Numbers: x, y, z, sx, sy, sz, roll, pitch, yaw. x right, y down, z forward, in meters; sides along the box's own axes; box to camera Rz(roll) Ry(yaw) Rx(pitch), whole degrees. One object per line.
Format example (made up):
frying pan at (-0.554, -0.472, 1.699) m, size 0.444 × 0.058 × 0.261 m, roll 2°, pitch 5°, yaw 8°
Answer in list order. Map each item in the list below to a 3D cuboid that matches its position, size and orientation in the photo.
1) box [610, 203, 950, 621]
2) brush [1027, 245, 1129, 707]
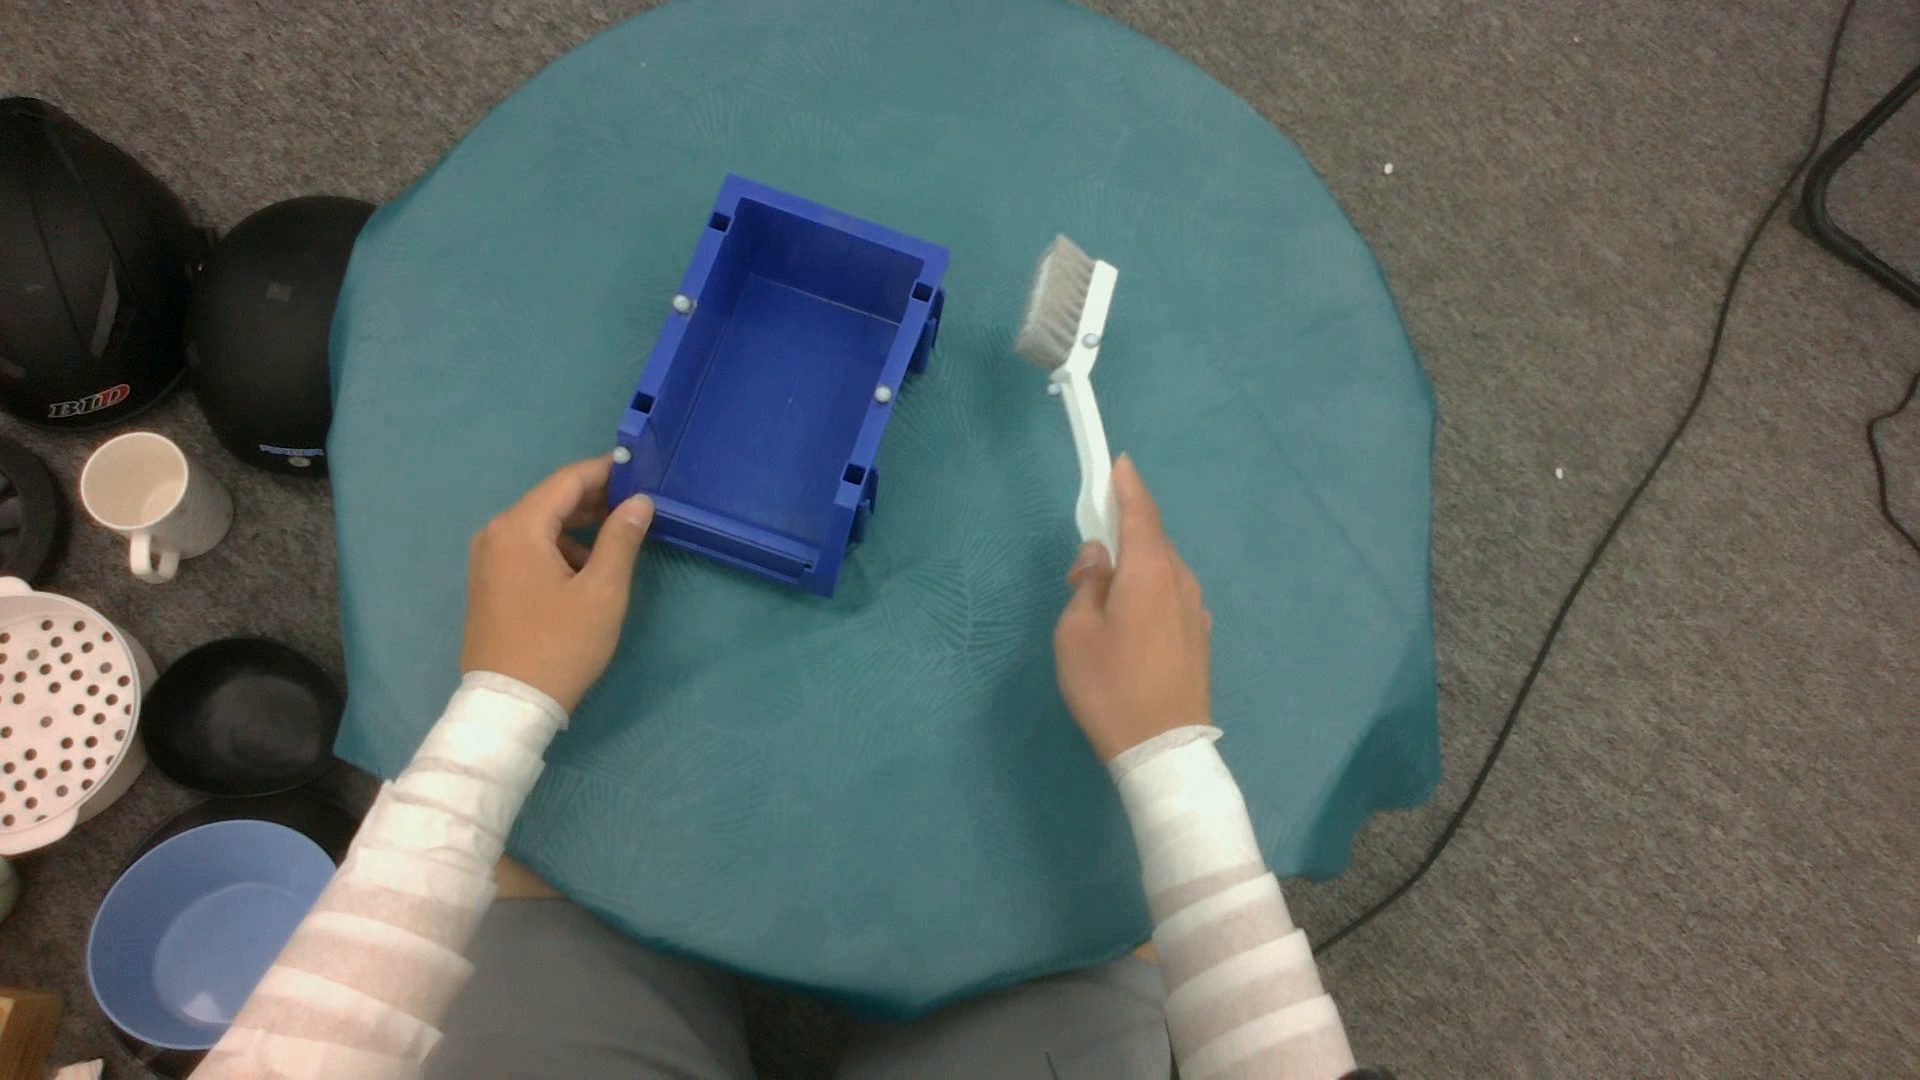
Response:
box at (-0.091, -0.063, 0.721) m, size 0.124 × 0.081 × 0.180 m, roll 20°, pitch 71°, yaw 0°
brush at (0.060, -0.036, 0.705) m, size 0.050 × 0.034 × 0.244 m, roll 8°, pitch 72°, yaw -21°
